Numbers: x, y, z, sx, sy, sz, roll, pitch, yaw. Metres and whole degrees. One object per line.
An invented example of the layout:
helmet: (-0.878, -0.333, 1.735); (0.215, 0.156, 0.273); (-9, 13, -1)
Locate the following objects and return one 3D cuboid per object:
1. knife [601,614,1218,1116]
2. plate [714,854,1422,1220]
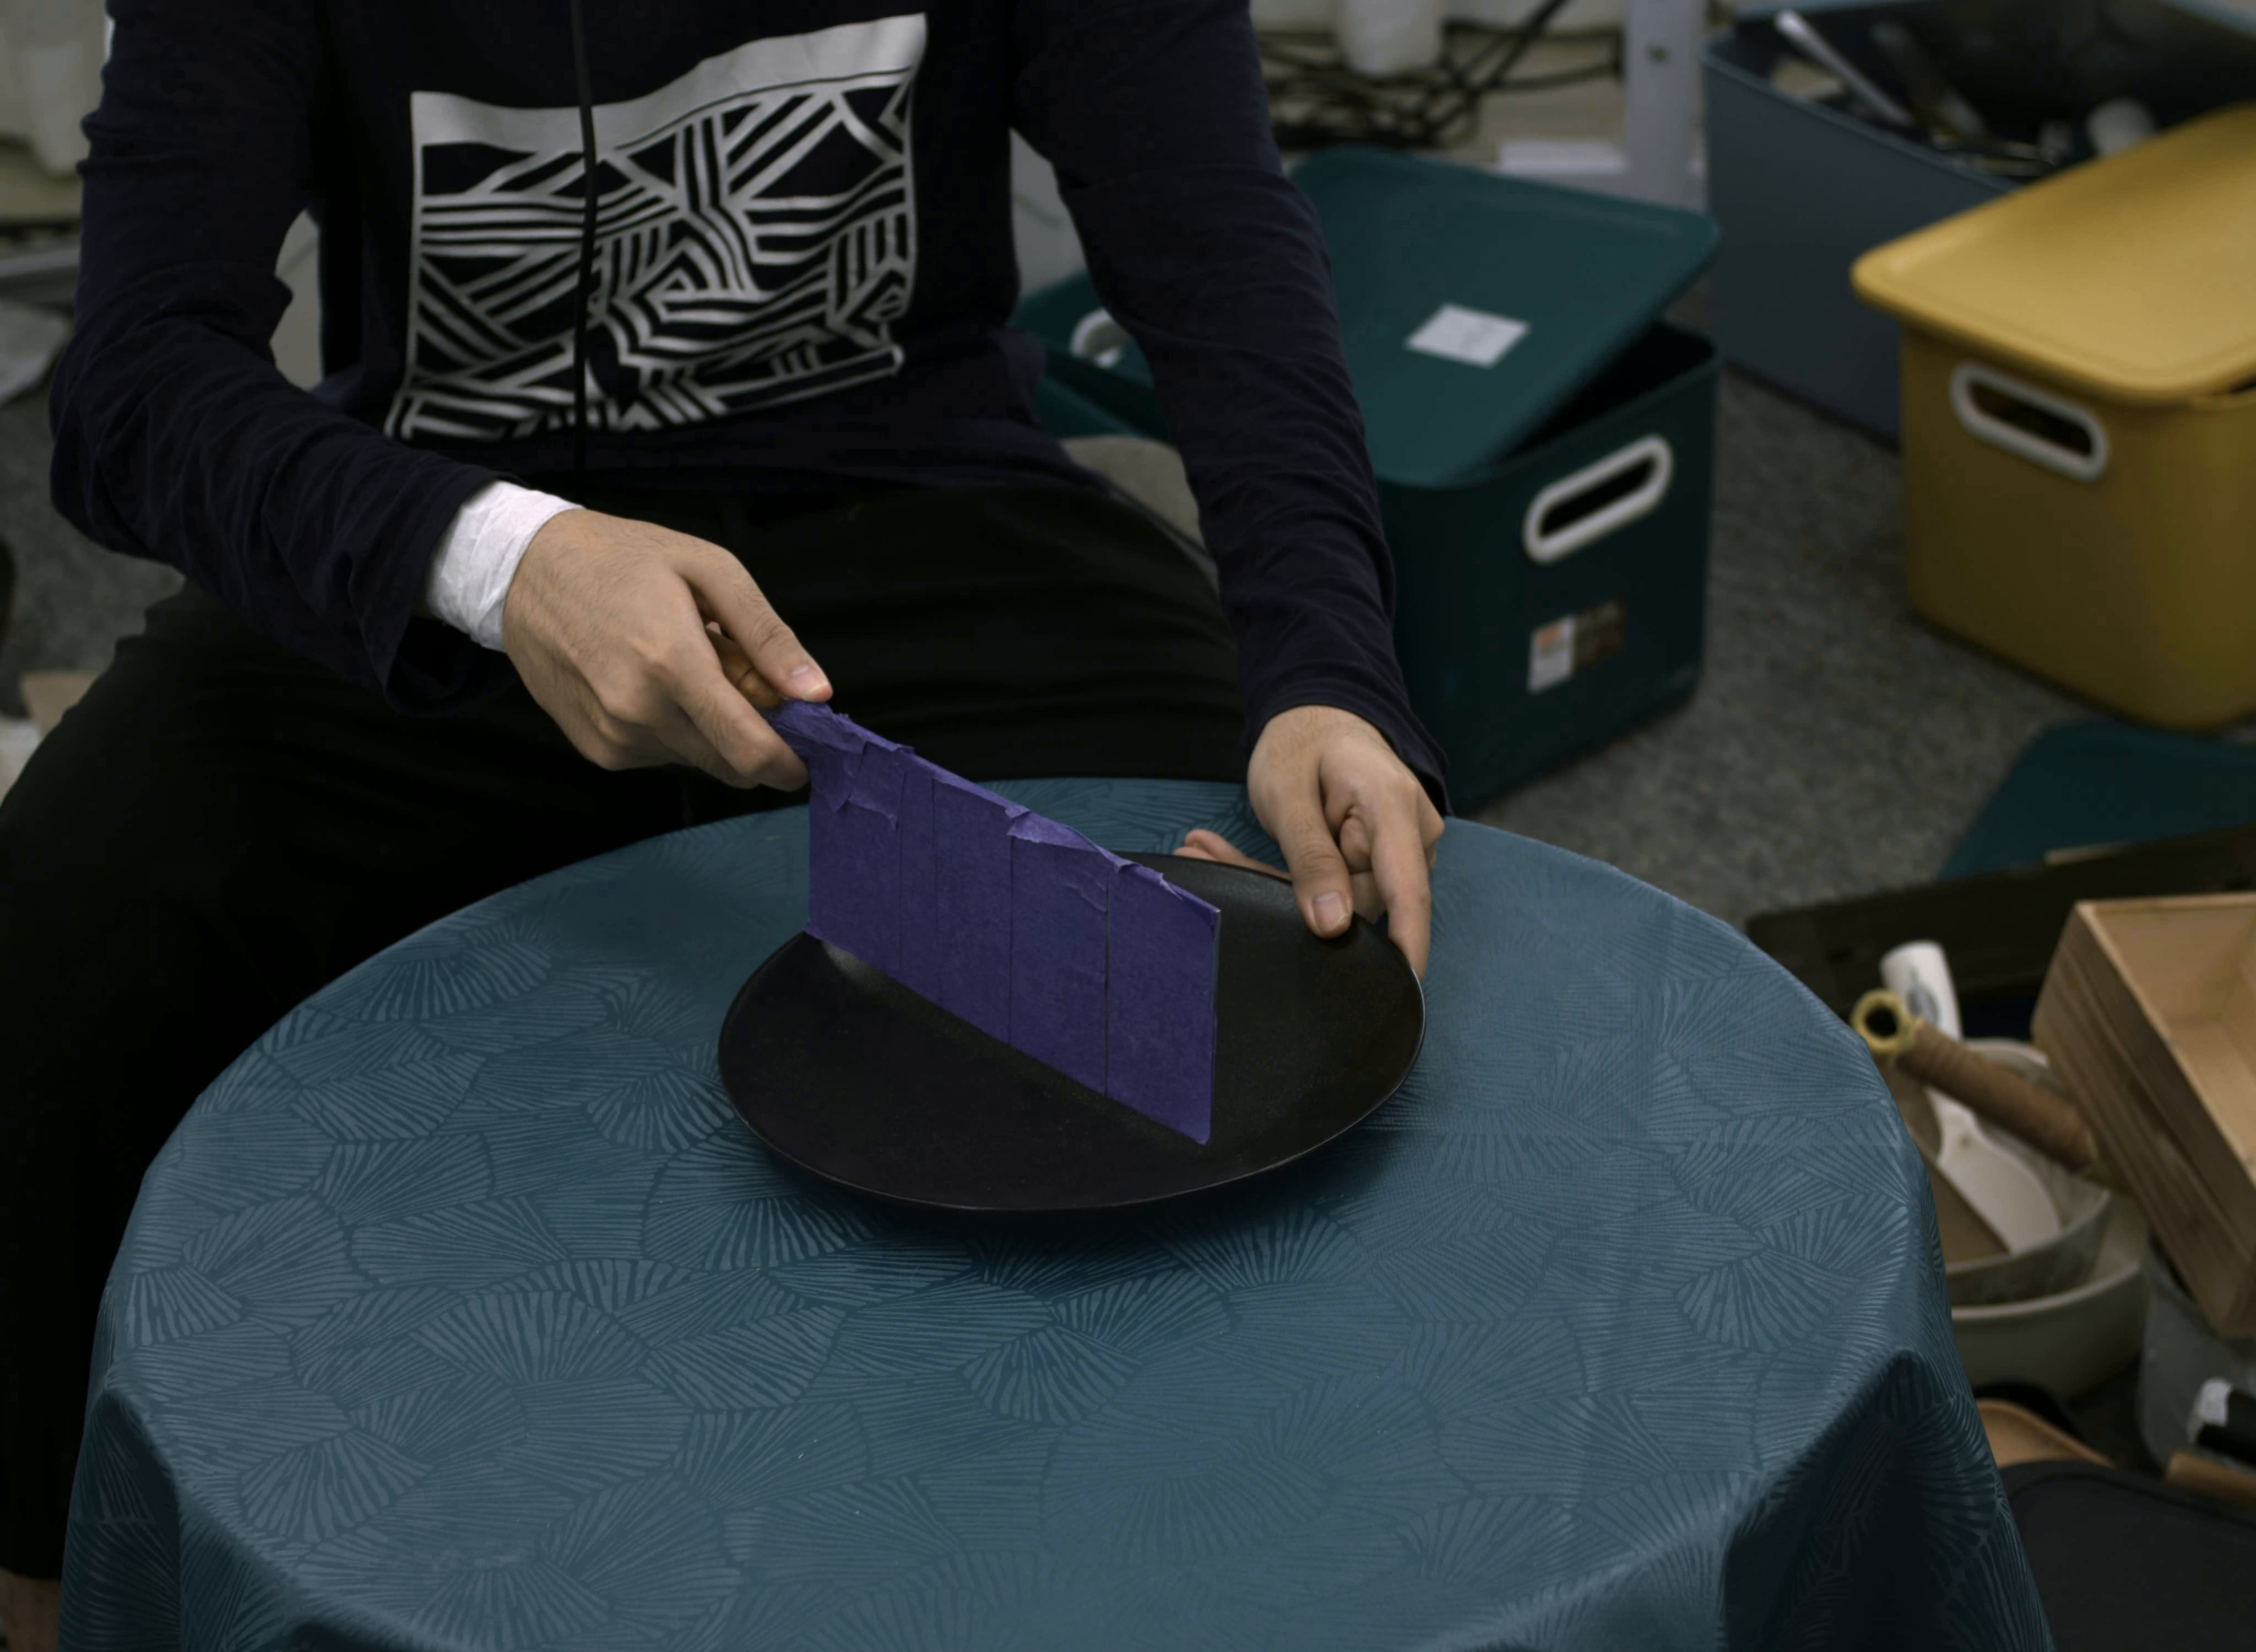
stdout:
knife: (-0.079, 0.014, 1.935); (0.032, 0.103, 0.315); (-15, 29, -38)
plate: (-0.020, 0.076, 1.925); (0.243, 0.023, 0.248); (-2, 28, 2)
